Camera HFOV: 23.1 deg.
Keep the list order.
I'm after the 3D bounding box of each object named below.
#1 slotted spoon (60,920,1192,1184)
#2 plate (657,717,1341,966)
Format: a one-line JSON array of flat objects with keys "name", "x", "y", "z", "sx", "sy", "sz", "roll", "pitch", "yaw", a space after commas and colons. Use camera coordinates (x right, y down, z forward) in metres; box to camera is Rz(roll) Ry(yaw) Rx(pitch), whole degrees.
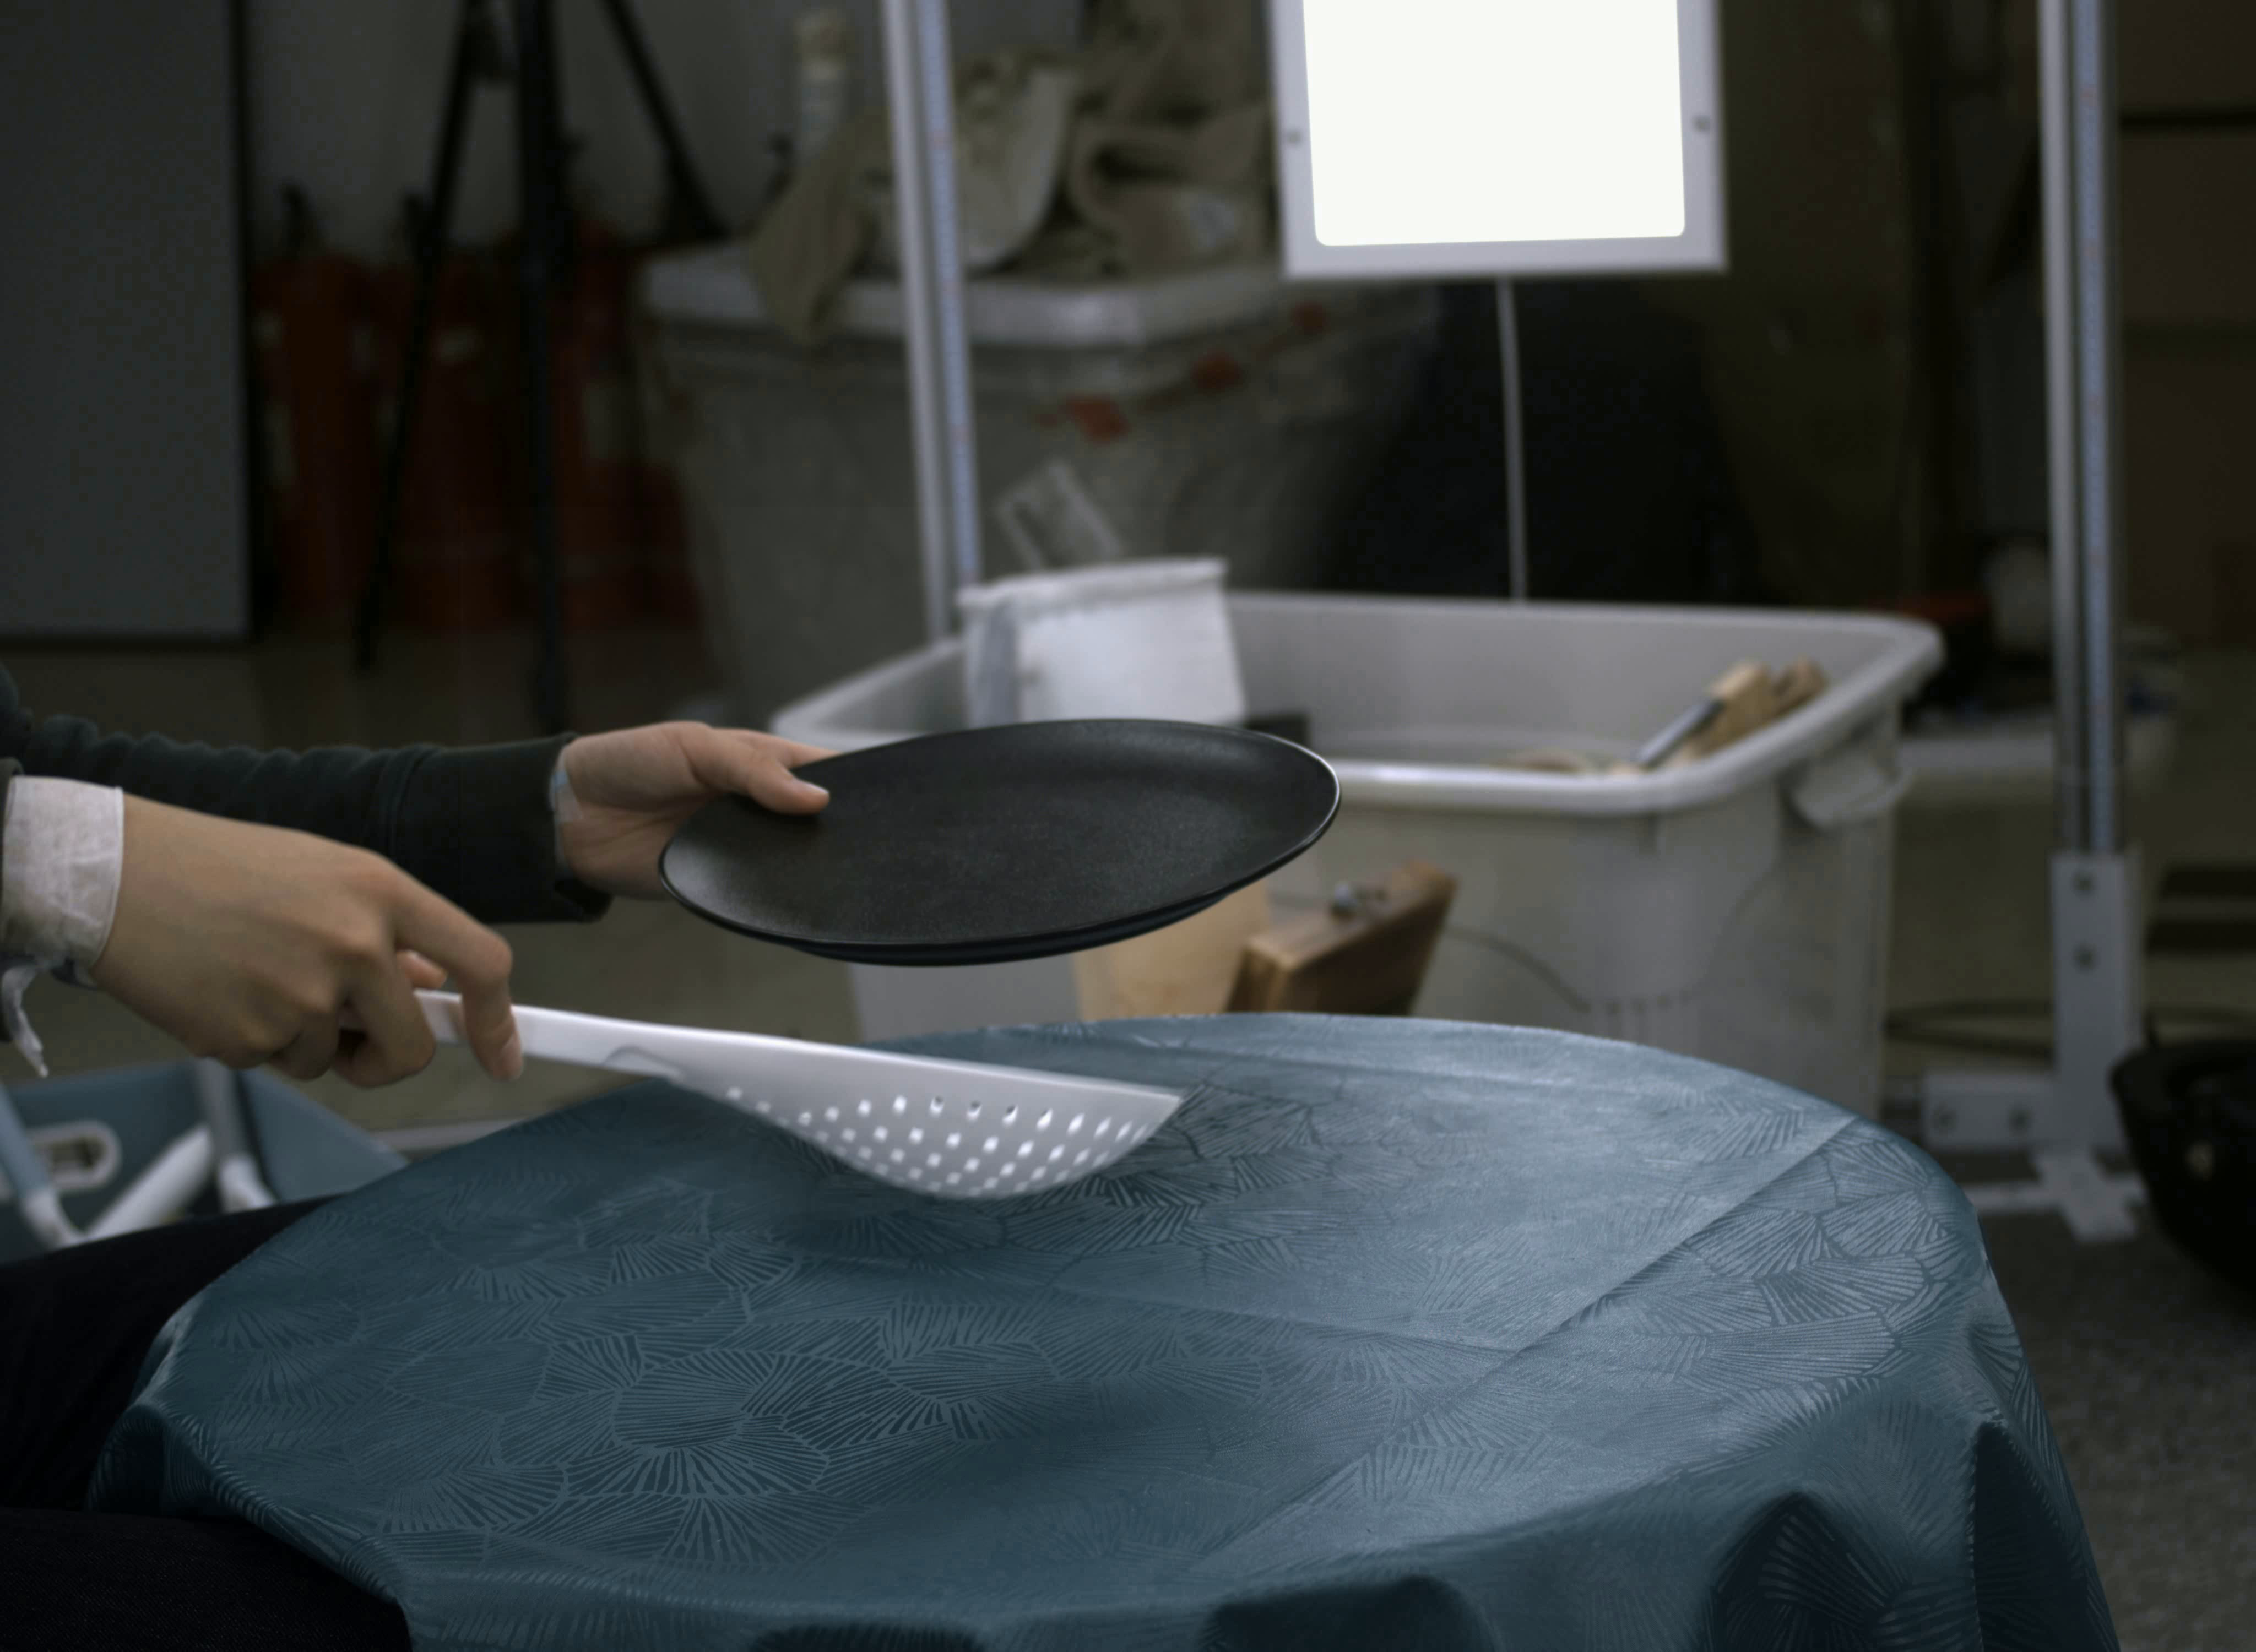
[{"name": "slotted spoon", "x": -0.143, "y": 0.060, "z": 1.618, "sx": 0.343, "sy": 0.046, "sz": 0.138, "roll": 15, "pitch": -7, "yaw": -25}, {"name": "plate", "x": -0.045, "y": 0.008, "z": 1.943, "sx": 0.244, "sy": 0.023, "sz": 0.244, "roll": -7, "pitch": 18, "yaw": 1}]
